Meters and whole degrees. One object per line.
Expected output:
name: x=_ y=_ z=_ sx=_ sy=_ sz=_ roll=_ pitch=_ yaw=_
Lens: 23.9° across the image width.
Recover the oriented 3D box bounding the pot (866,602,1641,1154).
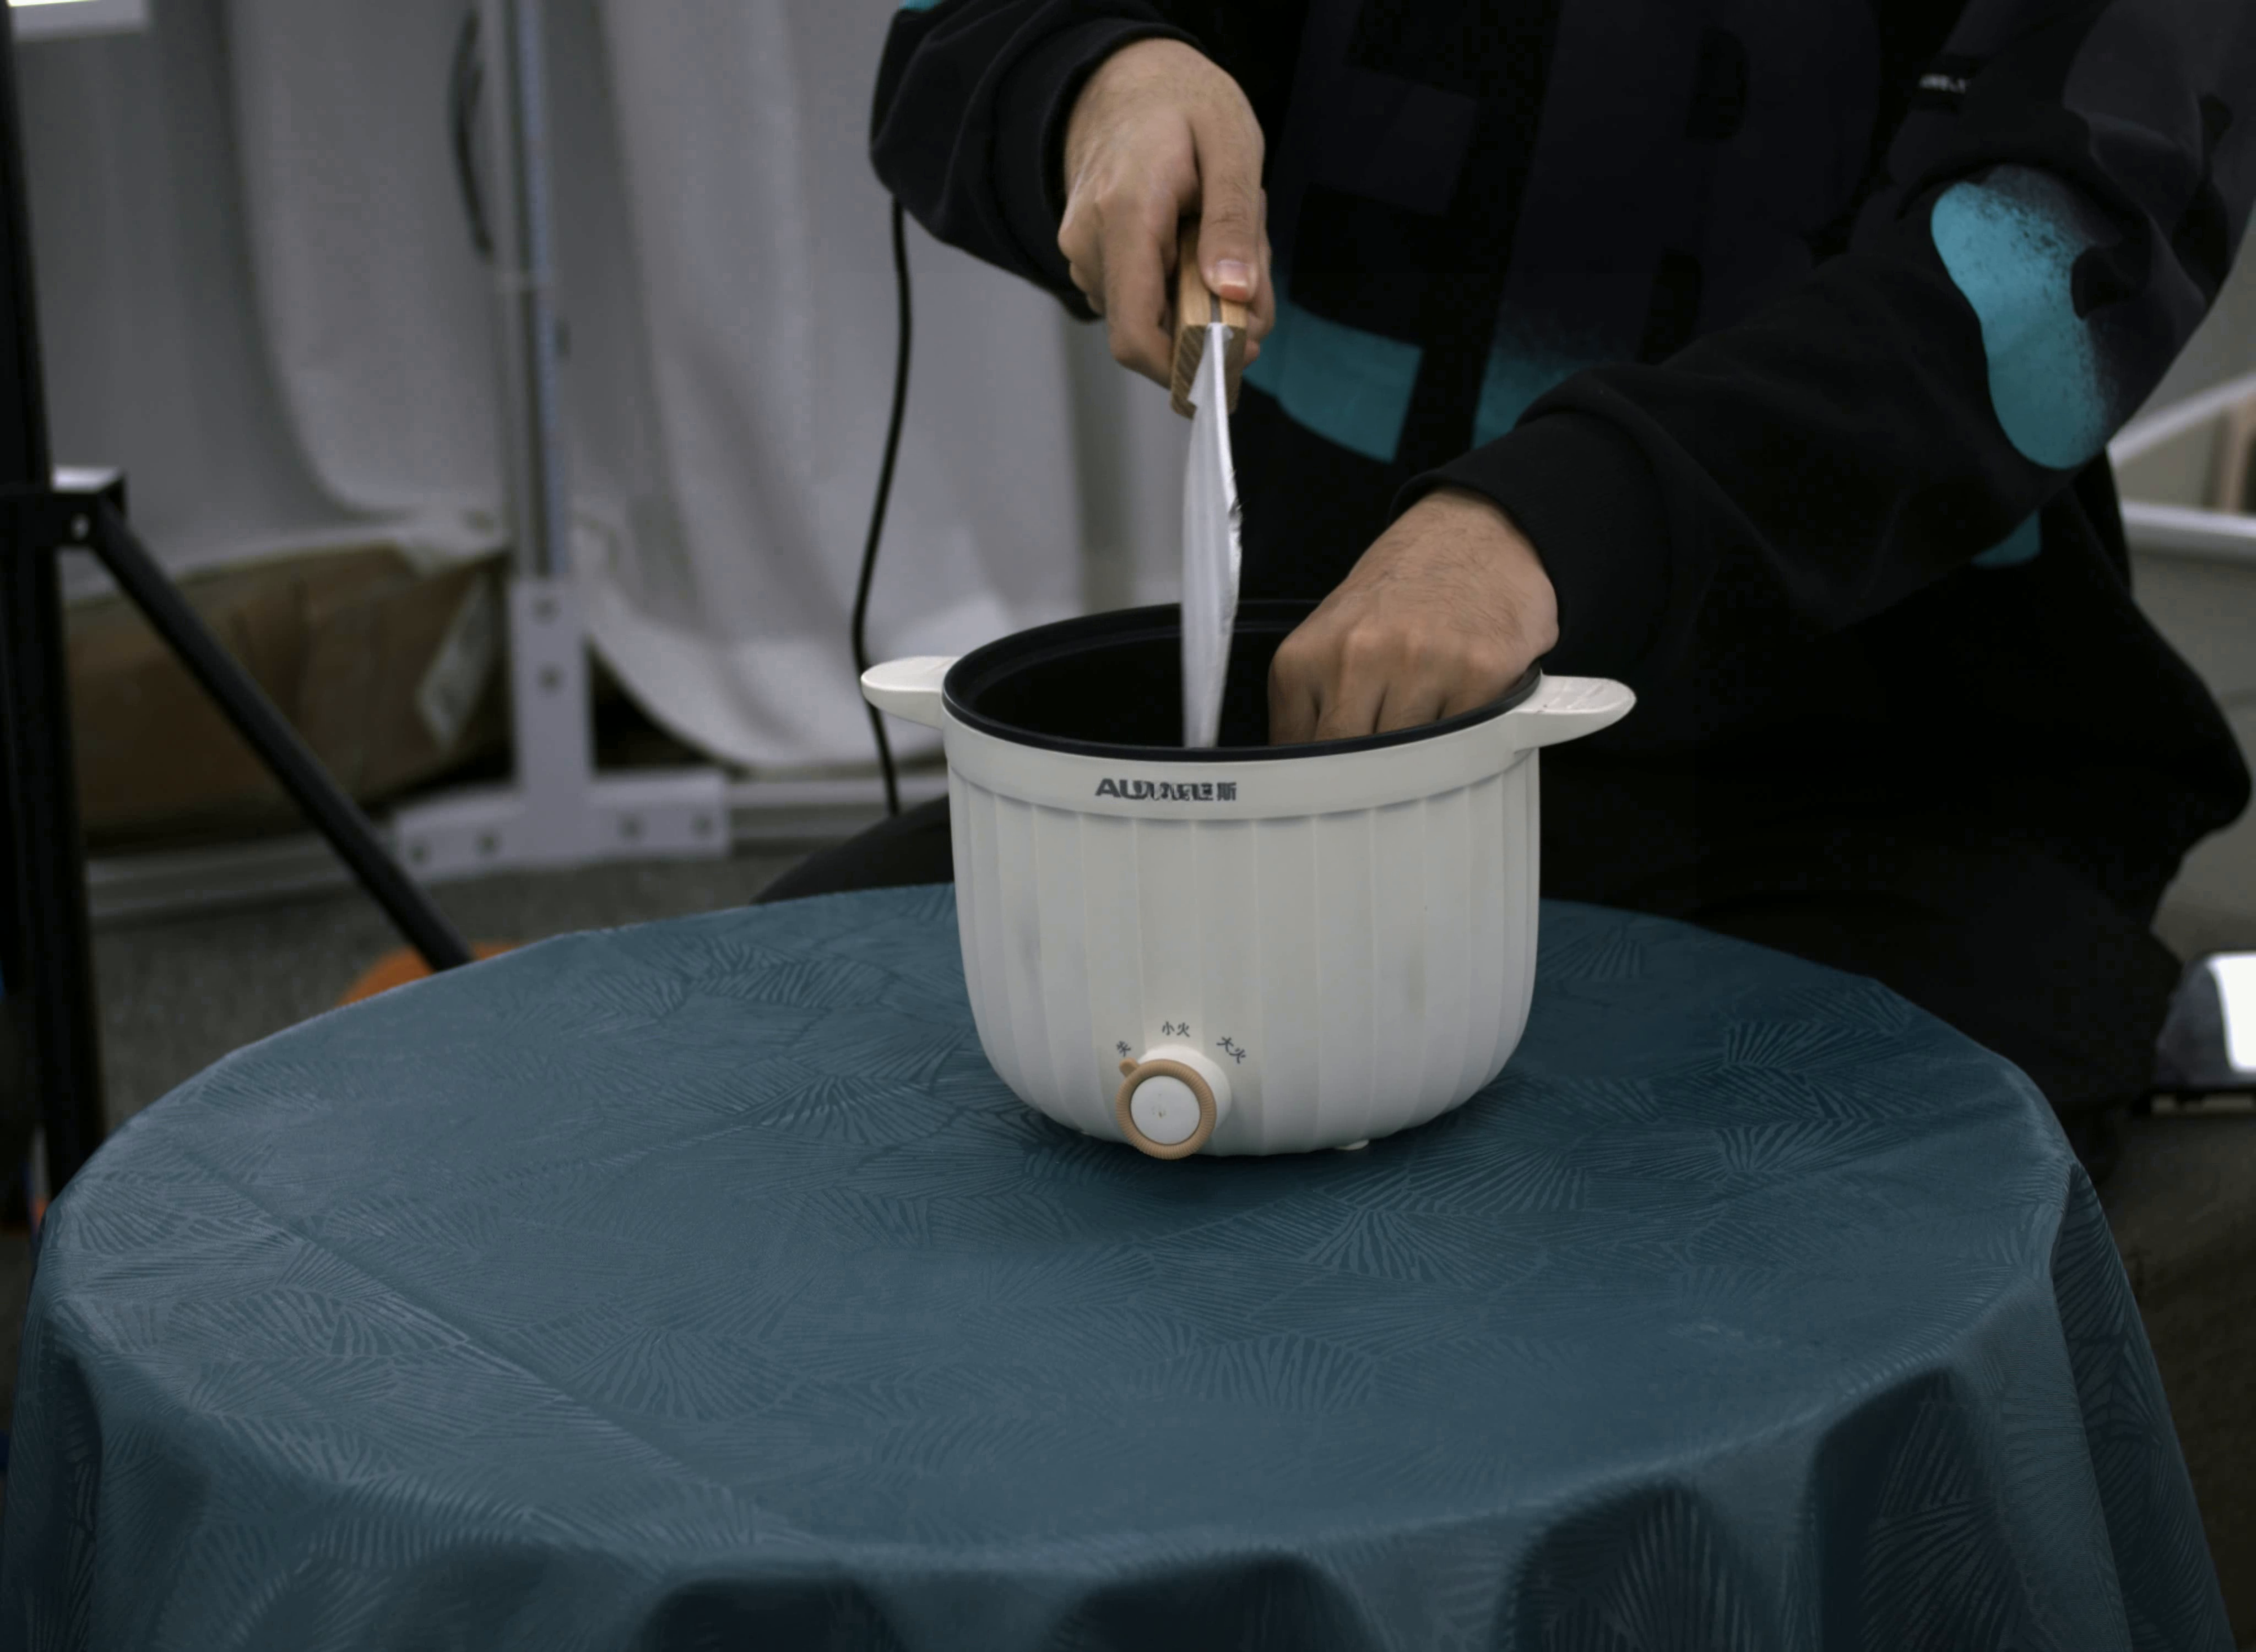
pot: x=0.037 y=0.018 z=1.613 sx=0.242 sy=0.143 sz=0.188 roll=1 pitch=12 yaw=17

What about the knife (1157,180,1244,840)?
knife: x=0.023 y=-0.115 z=1.651 sx=0.021 sy=0.114 sz=0.318 roll=7 pitch=34 yaw=-5
